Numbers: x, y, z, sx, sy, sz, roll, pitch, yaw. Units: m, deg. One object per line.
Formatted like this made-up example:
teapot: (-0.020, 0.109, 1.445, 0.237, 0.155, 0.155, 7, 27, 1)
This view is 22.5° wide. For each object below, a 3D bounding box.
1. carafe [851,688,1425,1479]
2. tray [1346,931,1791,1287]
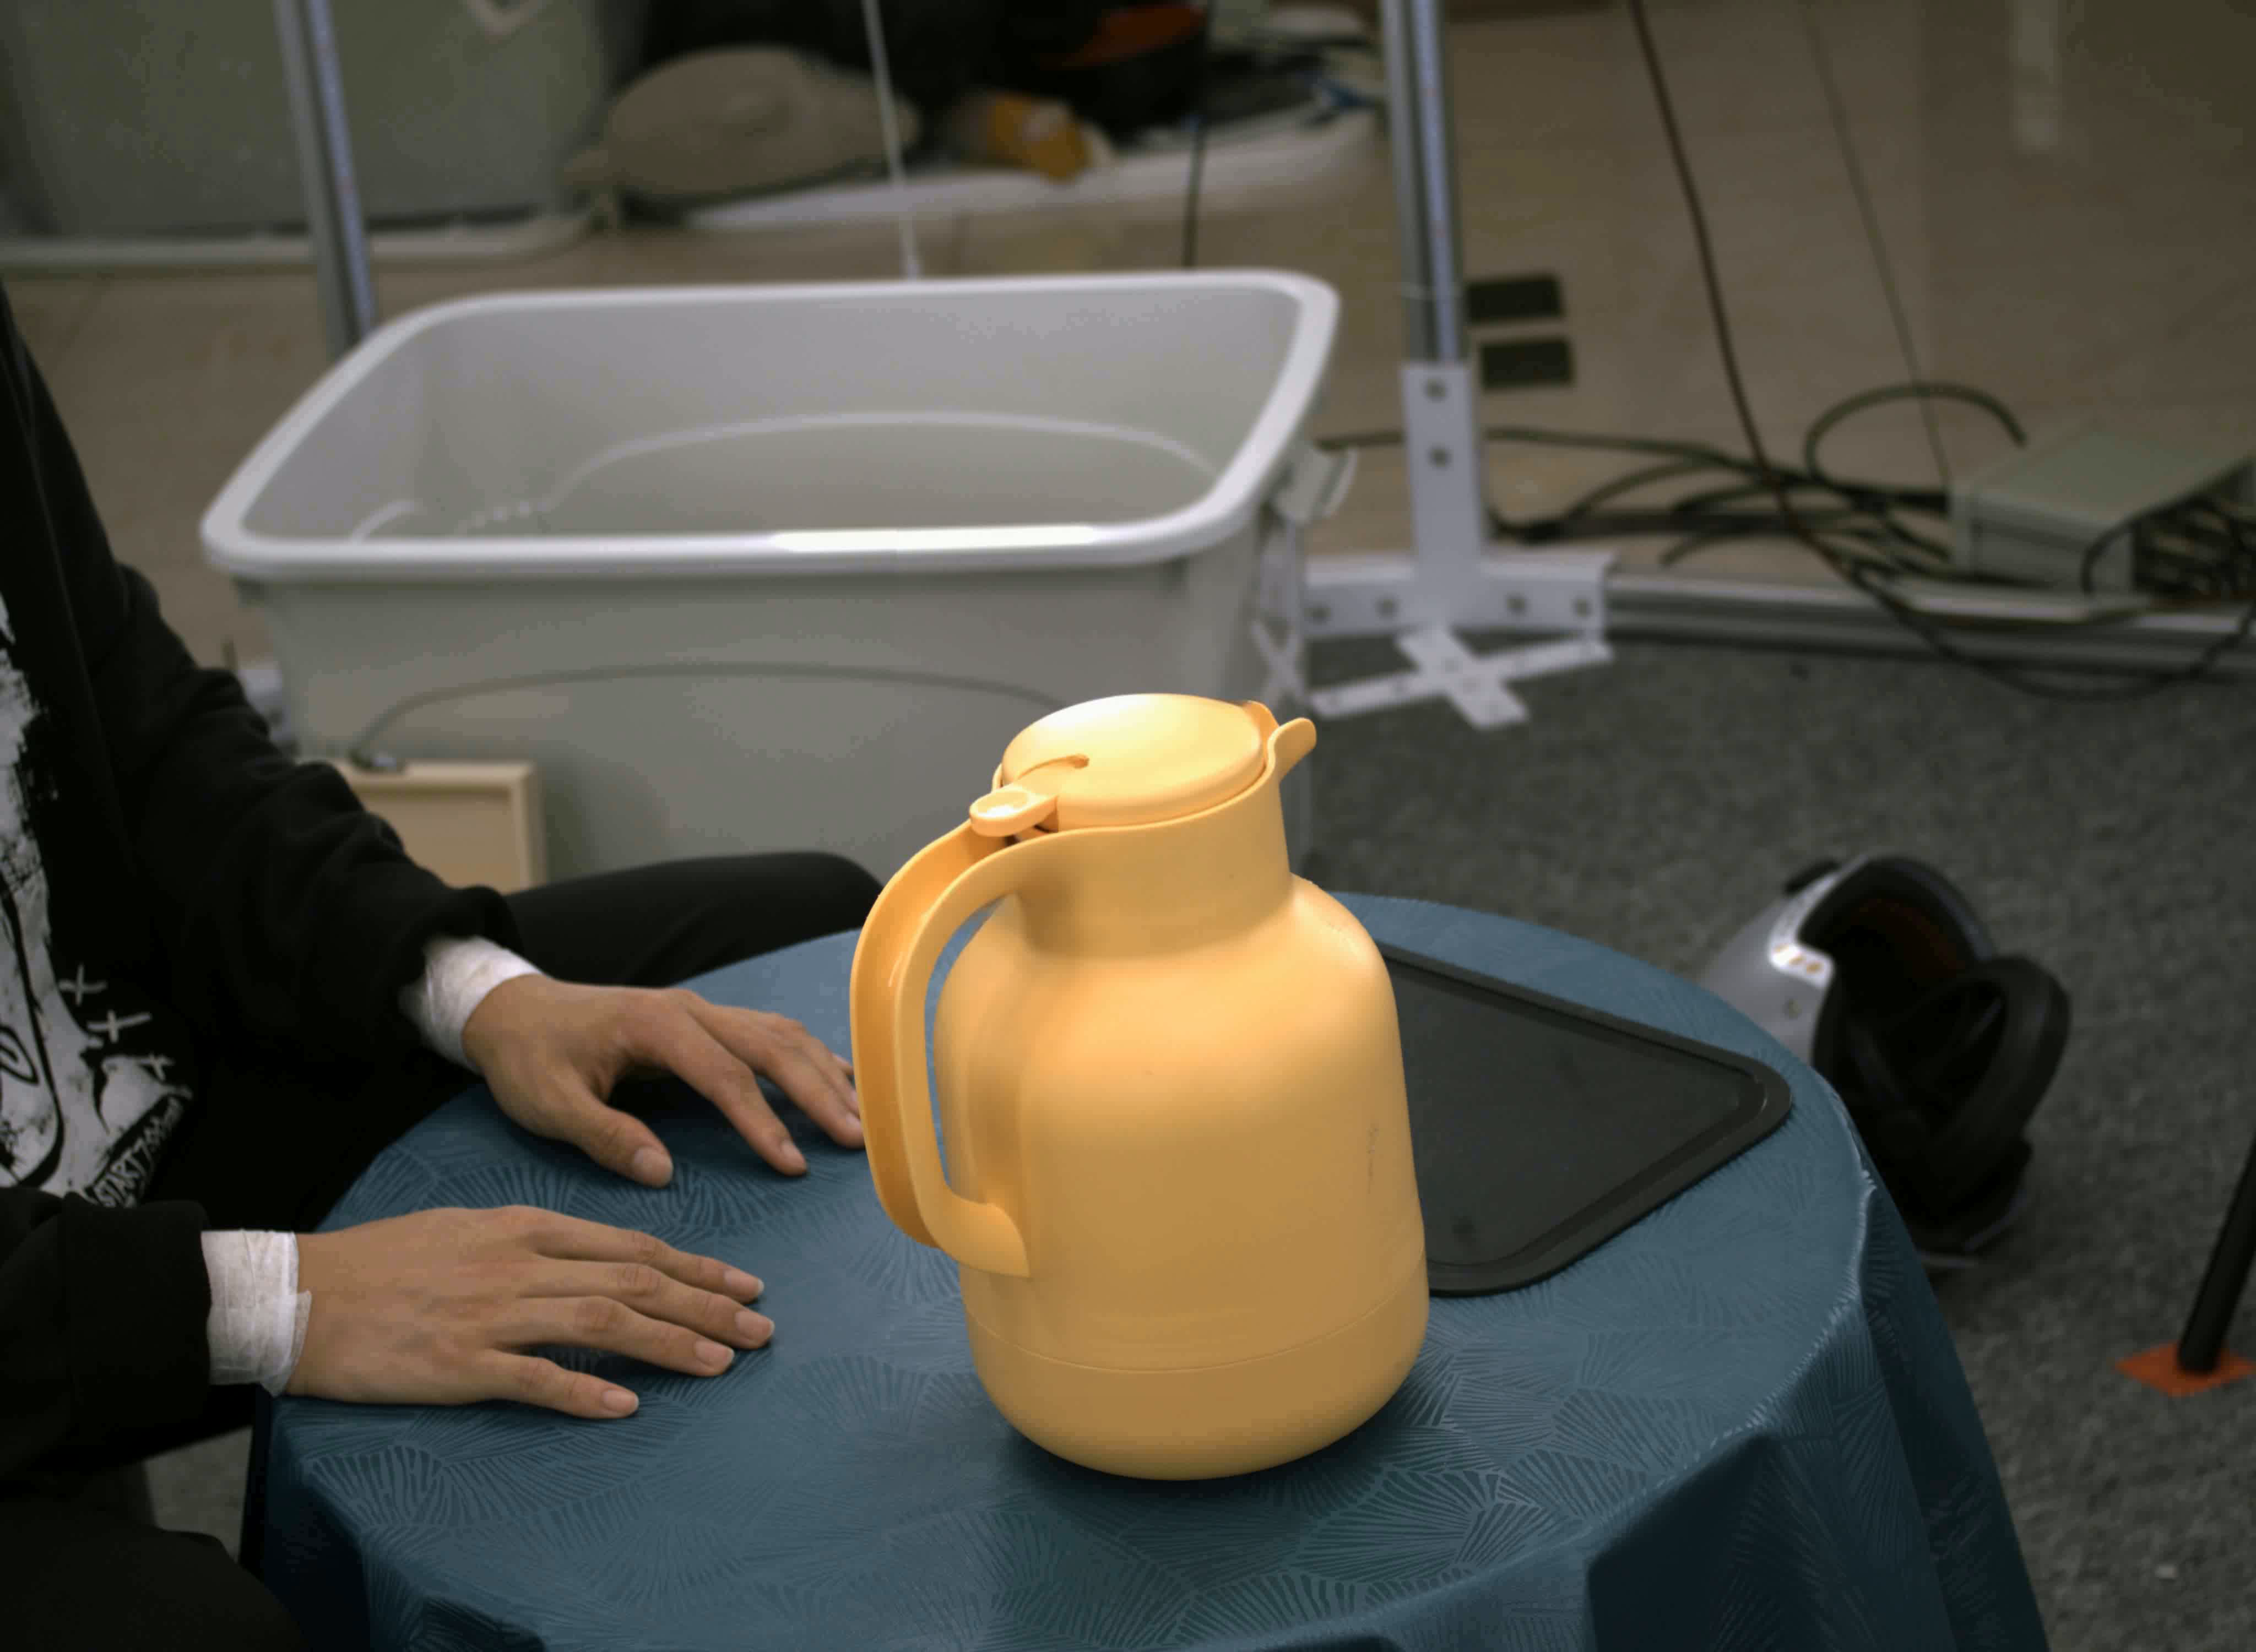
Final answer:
carafe: (-0.002, 0.090, 1.941, 0.201, 0.264, 0.162, -22, 27, -32)
tray: (0.083, 0.101, 2.203, 0.323, 0.010, 0.209, 18, 34, 42)
